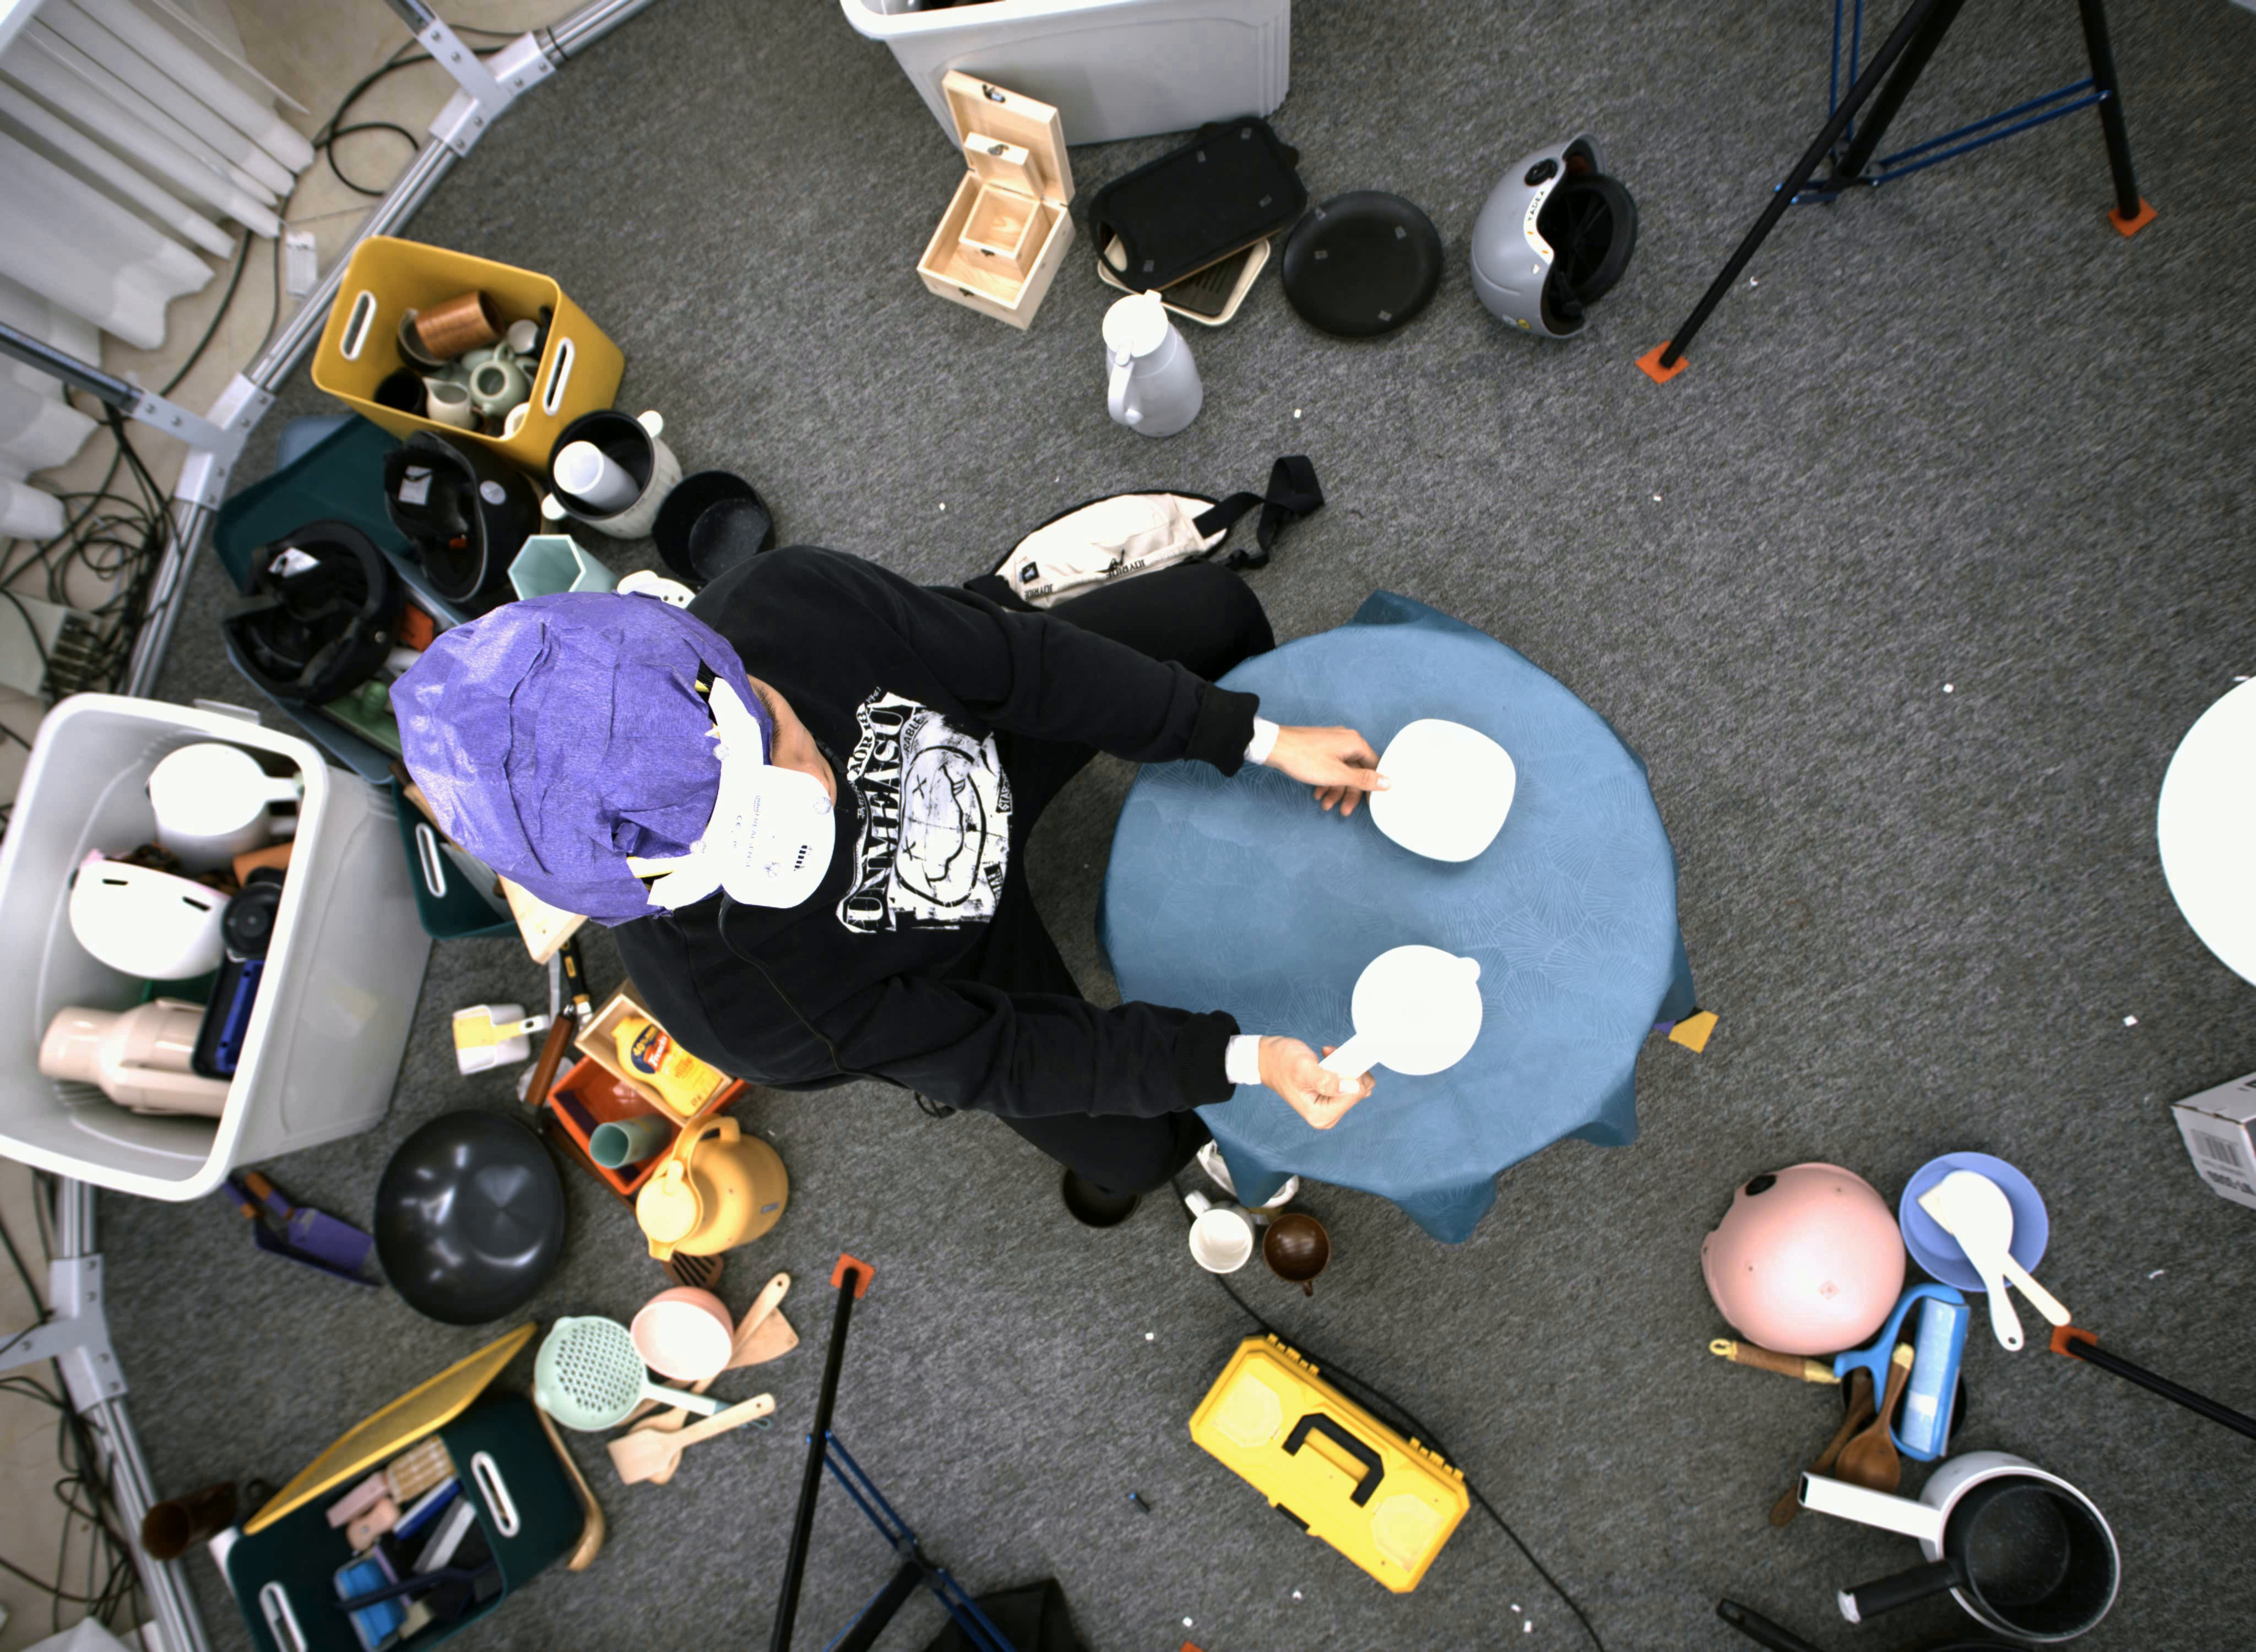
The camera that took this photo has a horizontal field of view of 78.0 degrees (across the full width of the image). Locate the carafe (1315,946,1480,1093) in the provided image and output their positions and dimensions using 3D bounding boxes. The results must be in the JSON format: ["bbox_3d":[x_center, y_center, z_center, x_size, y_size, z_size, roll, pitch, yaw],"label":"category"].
[{"bbox_3d":[0.262,0.186,1.320,0.174,0.269,0.123,-40,79,7],"label":"carafe"}]

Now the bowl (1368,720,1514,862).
[{"bbox_3d":[0.323,-0.035,1.429,0.152,0.058,0.151,-1,86,10],"label":"bowl"}]
